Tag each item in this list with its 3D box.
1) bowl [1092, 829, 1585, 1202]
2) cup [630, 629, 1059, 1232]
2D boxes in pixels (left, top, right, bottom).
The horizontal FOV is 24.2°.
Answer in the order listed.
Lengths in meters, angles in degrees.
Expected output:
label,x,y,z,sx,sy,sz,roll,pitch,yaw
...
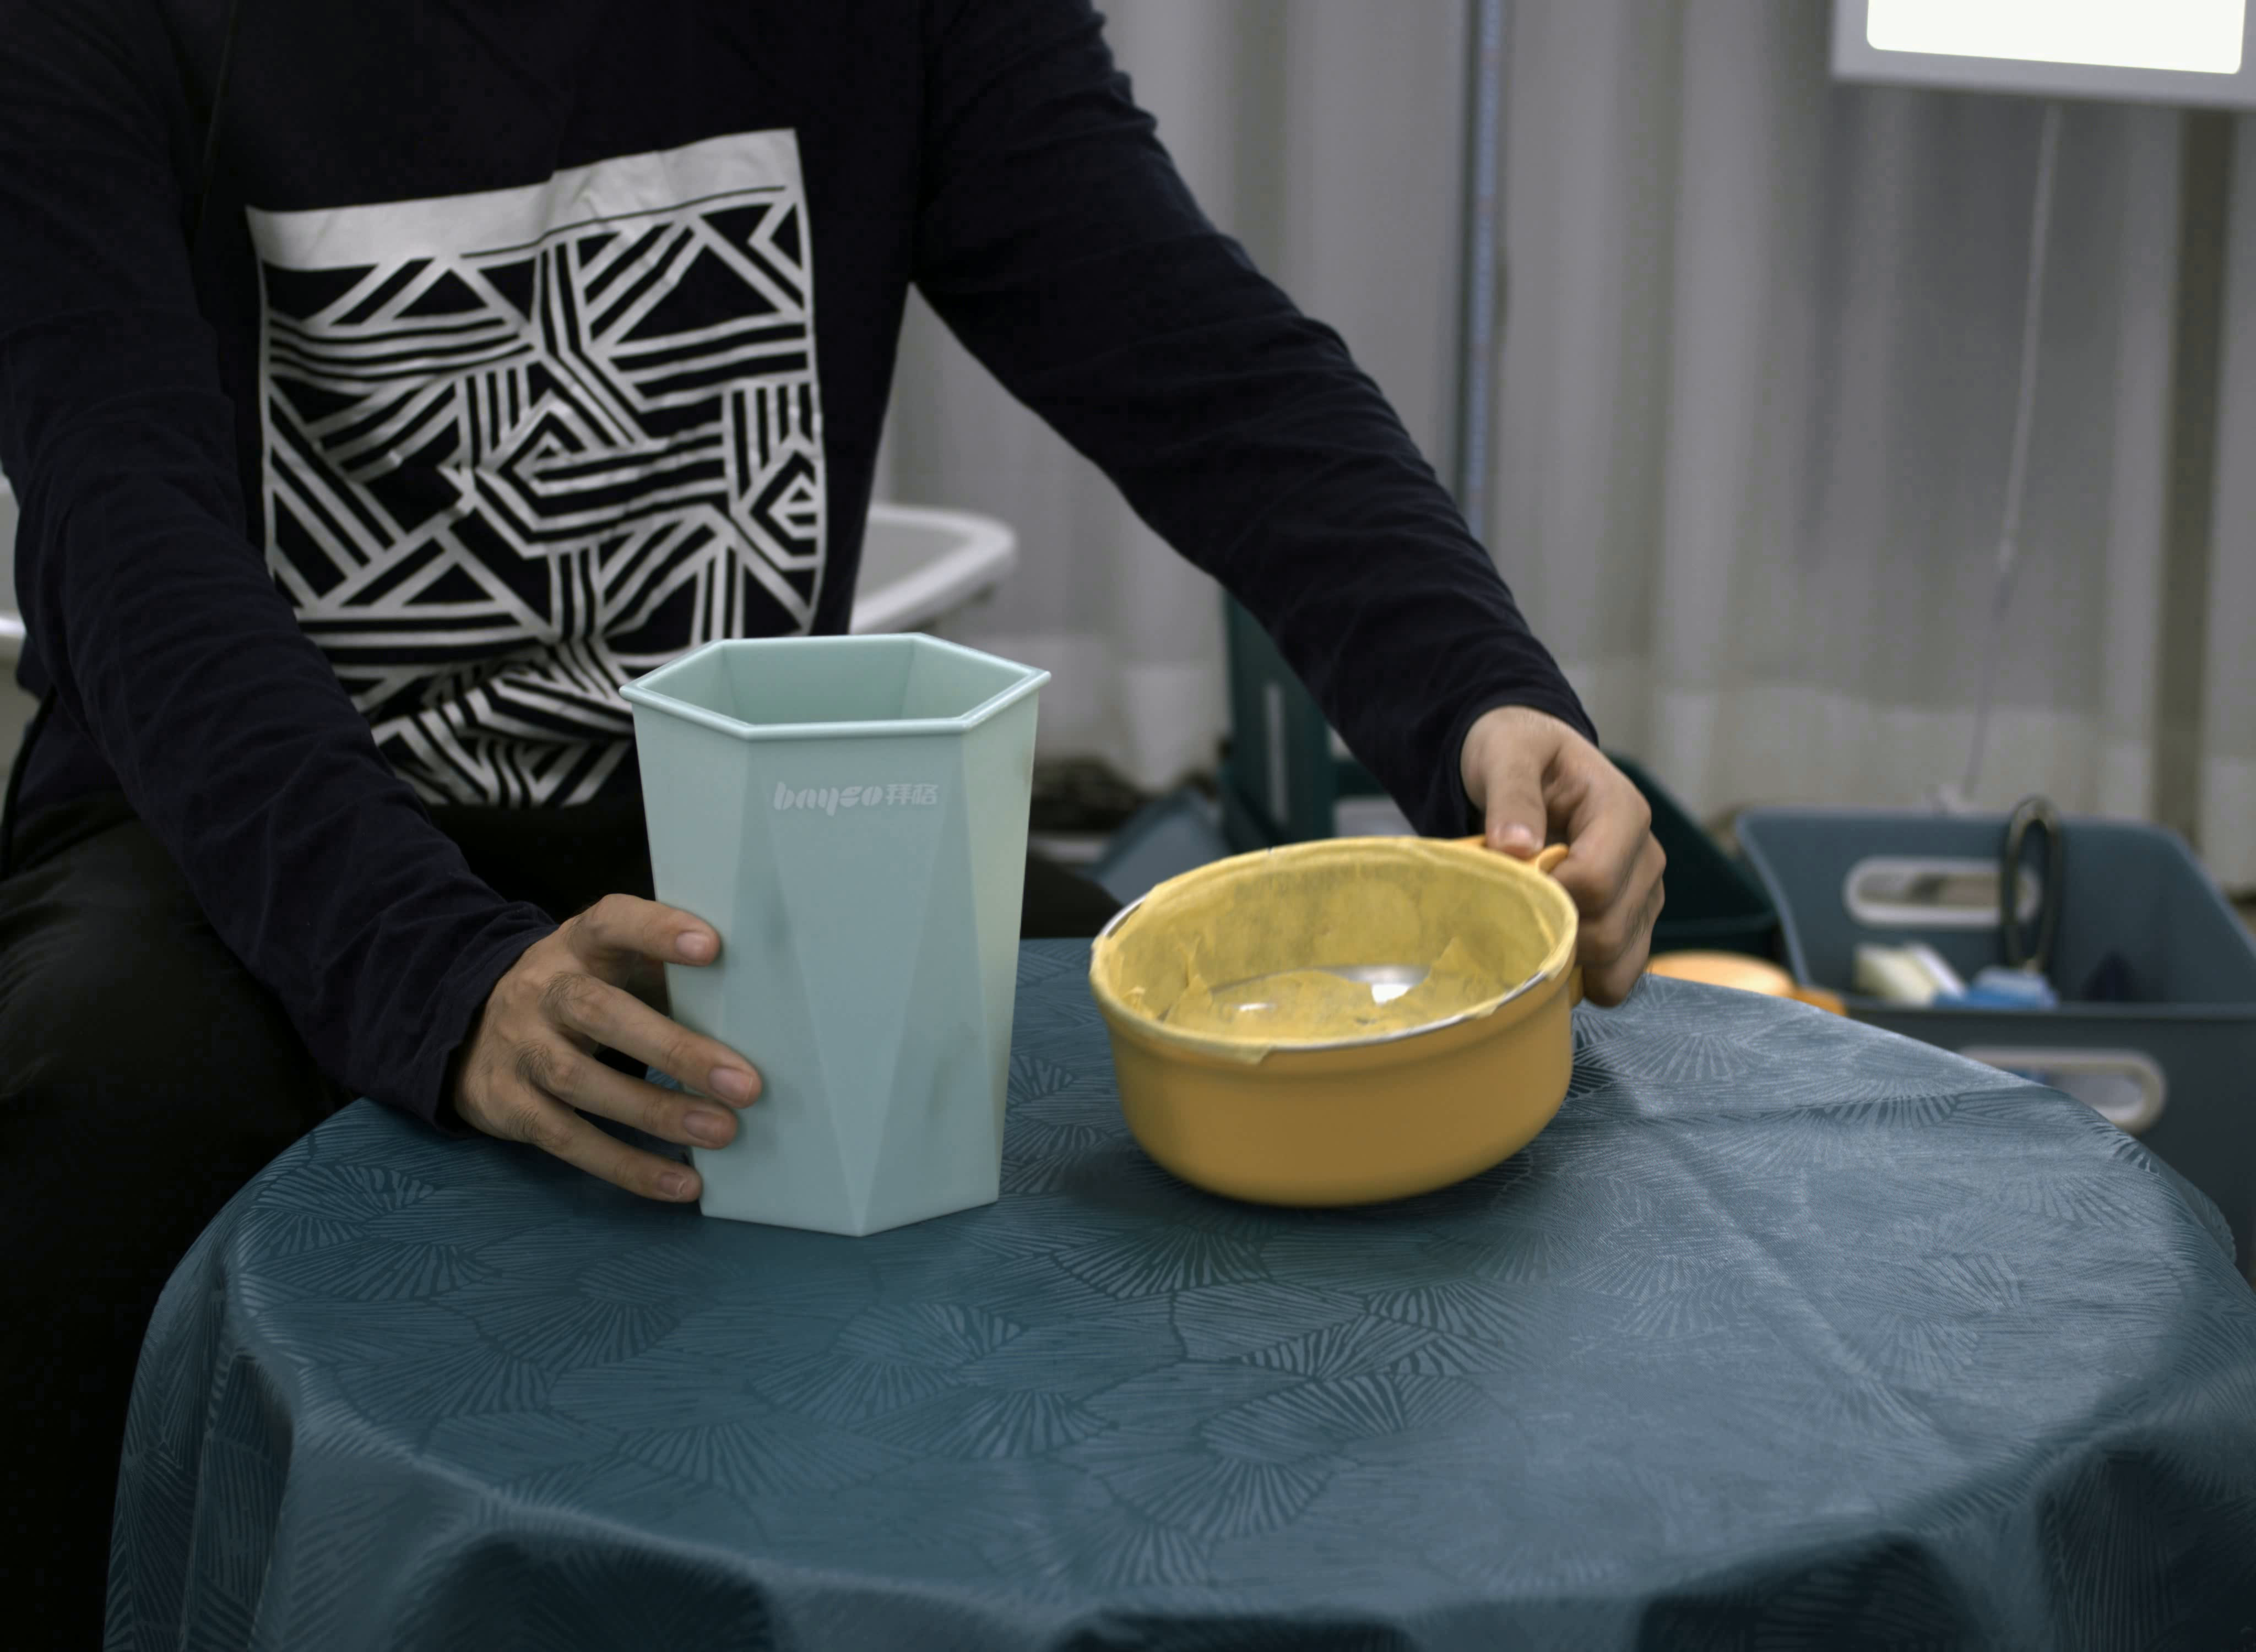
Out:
label,x,y,z,sx,sy,sz,roll,pitch,yaw
bowl,0.078,0.057,1.651,0.151,0.075,0.179,10,29,38
cup,-0.086,0.031,1.607,0.131,0.164,0.114,-2,15,-11
